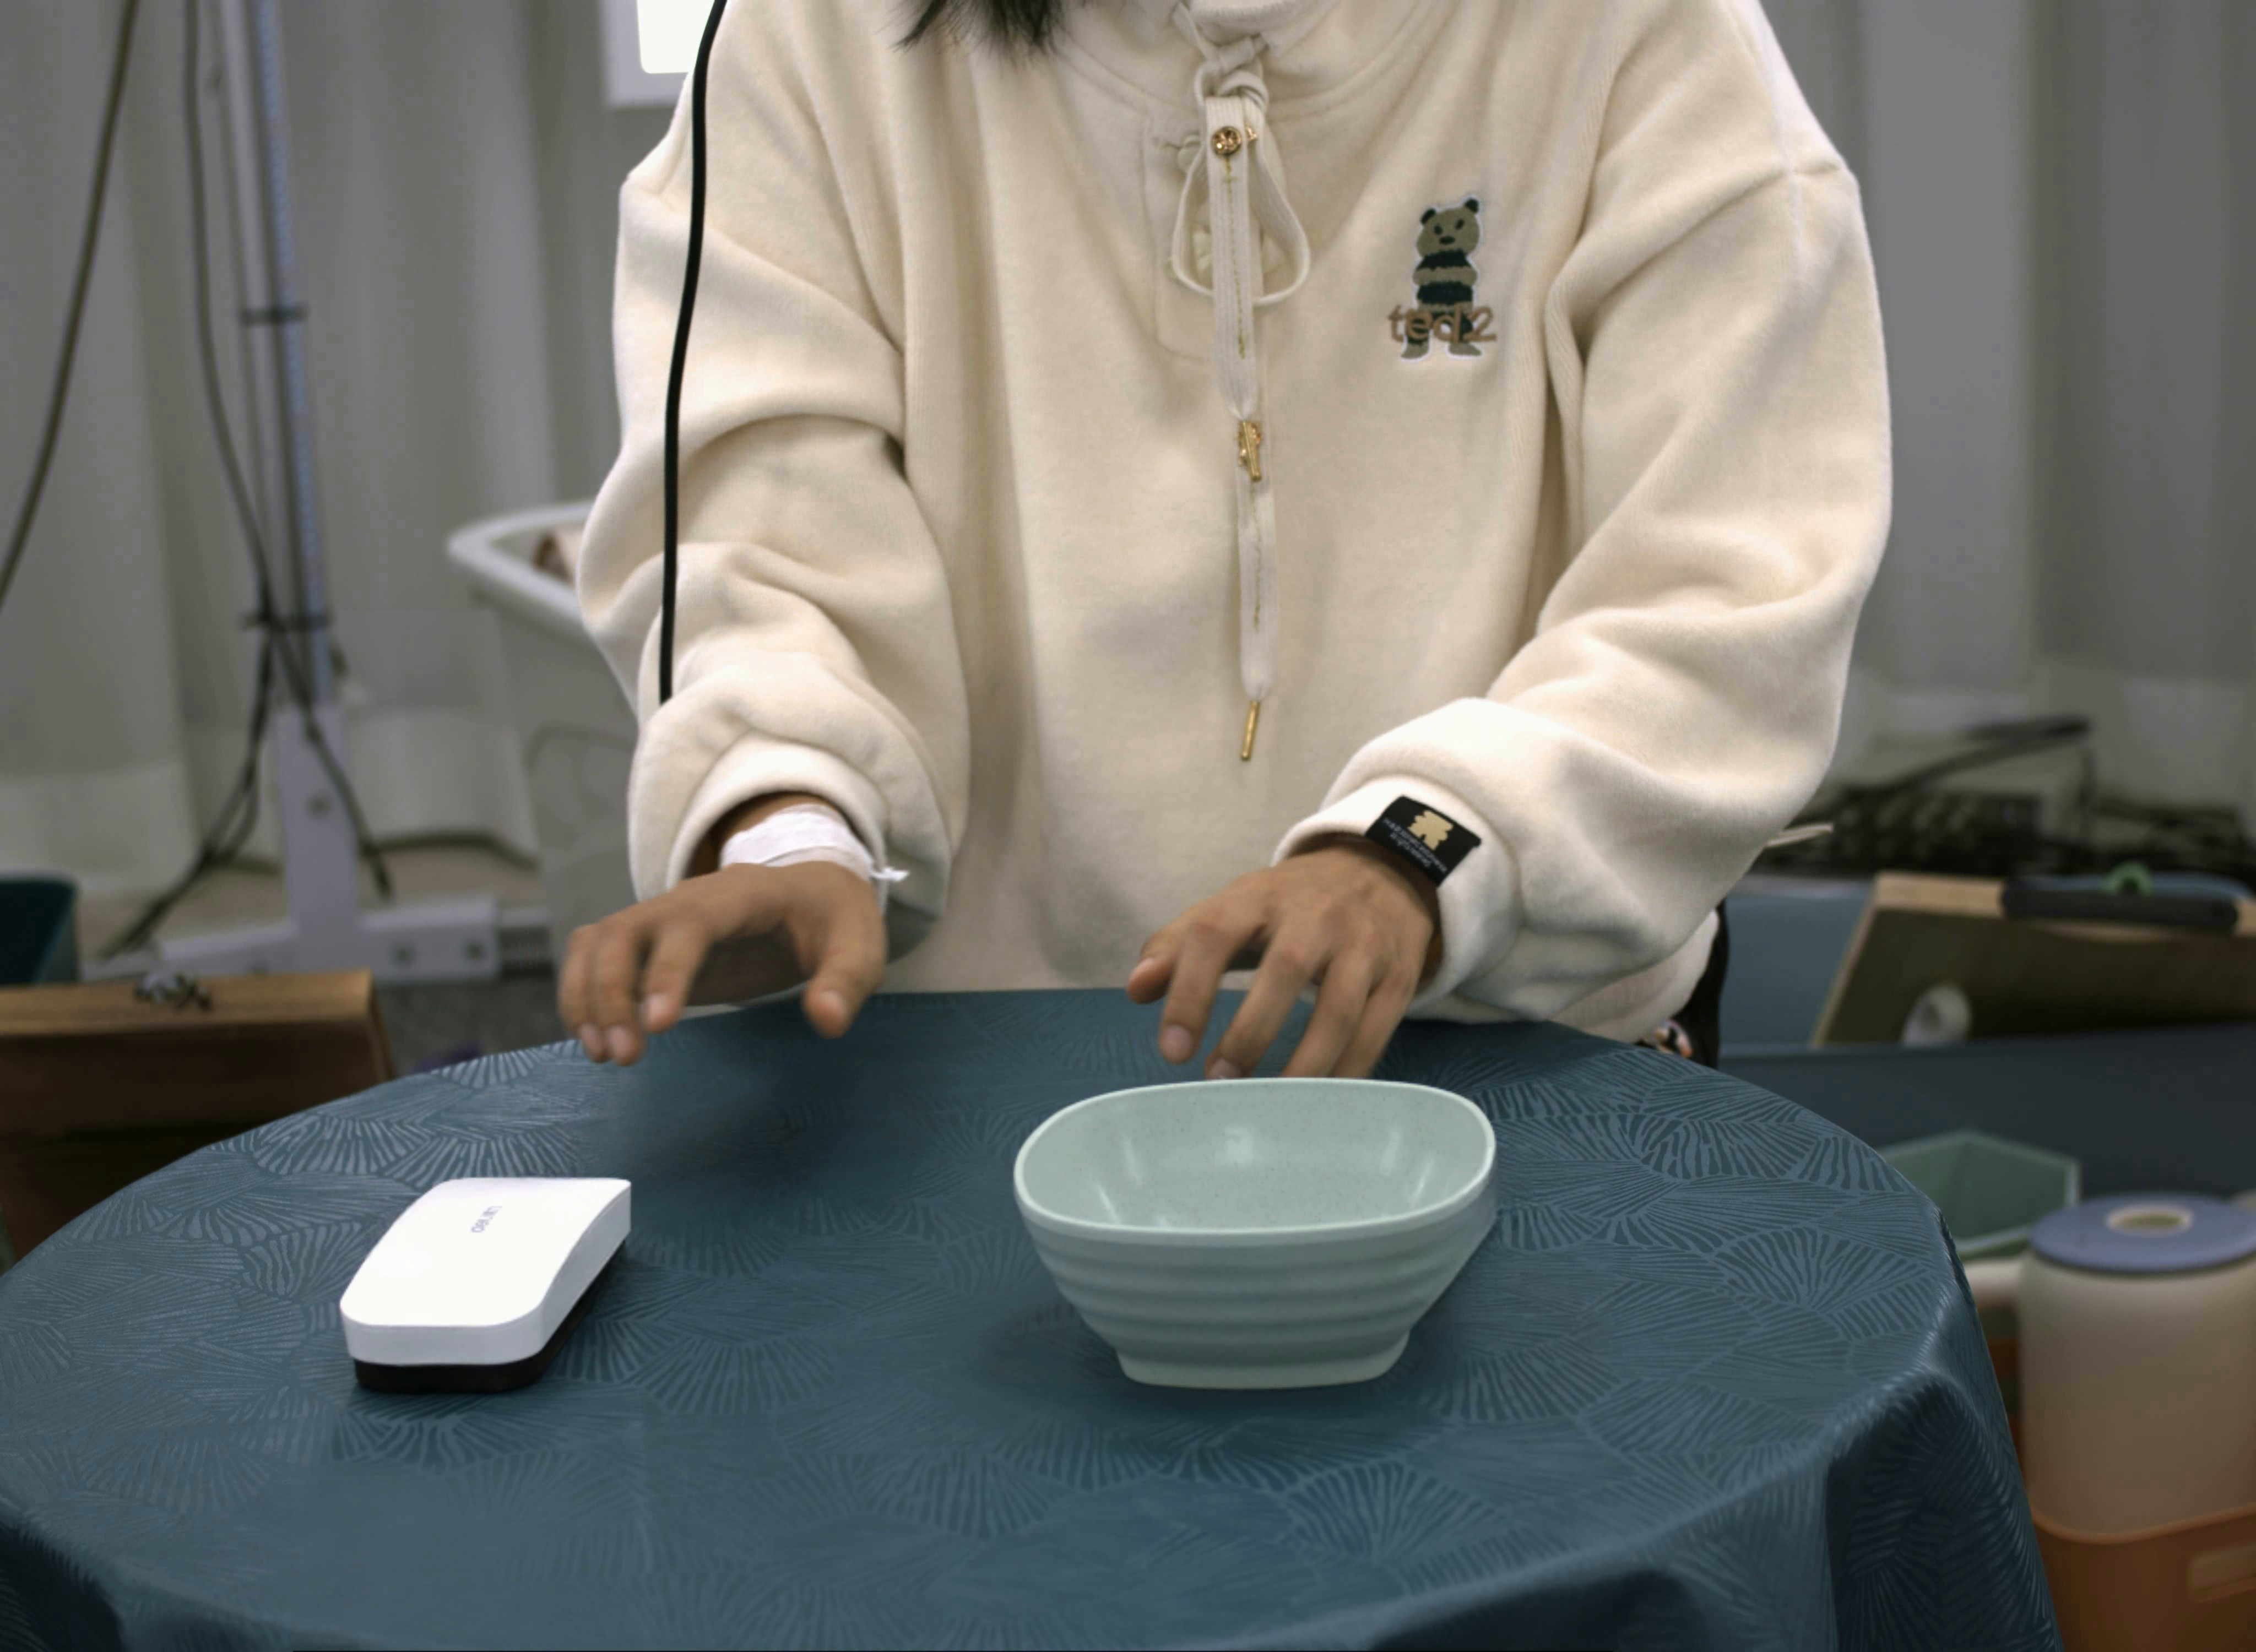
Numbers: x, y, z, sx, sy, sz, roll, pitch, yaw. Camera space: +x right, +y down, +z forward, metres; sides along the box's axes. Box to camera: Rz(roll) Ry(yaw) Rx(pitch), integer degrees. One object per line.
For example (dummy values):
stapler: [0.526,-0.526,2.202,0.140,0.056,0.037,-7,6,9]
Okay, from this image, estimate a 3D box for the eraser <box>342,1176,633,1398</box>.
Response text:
eraser: [-0.187,0.133,1.625,0.063,0.034,0.132,0,15,10]

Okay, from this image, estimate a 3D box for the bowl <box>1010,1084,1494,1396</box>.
bowl: [0.036,0.122,1.573,0.151,0.058,0.152,-1,14,0]
